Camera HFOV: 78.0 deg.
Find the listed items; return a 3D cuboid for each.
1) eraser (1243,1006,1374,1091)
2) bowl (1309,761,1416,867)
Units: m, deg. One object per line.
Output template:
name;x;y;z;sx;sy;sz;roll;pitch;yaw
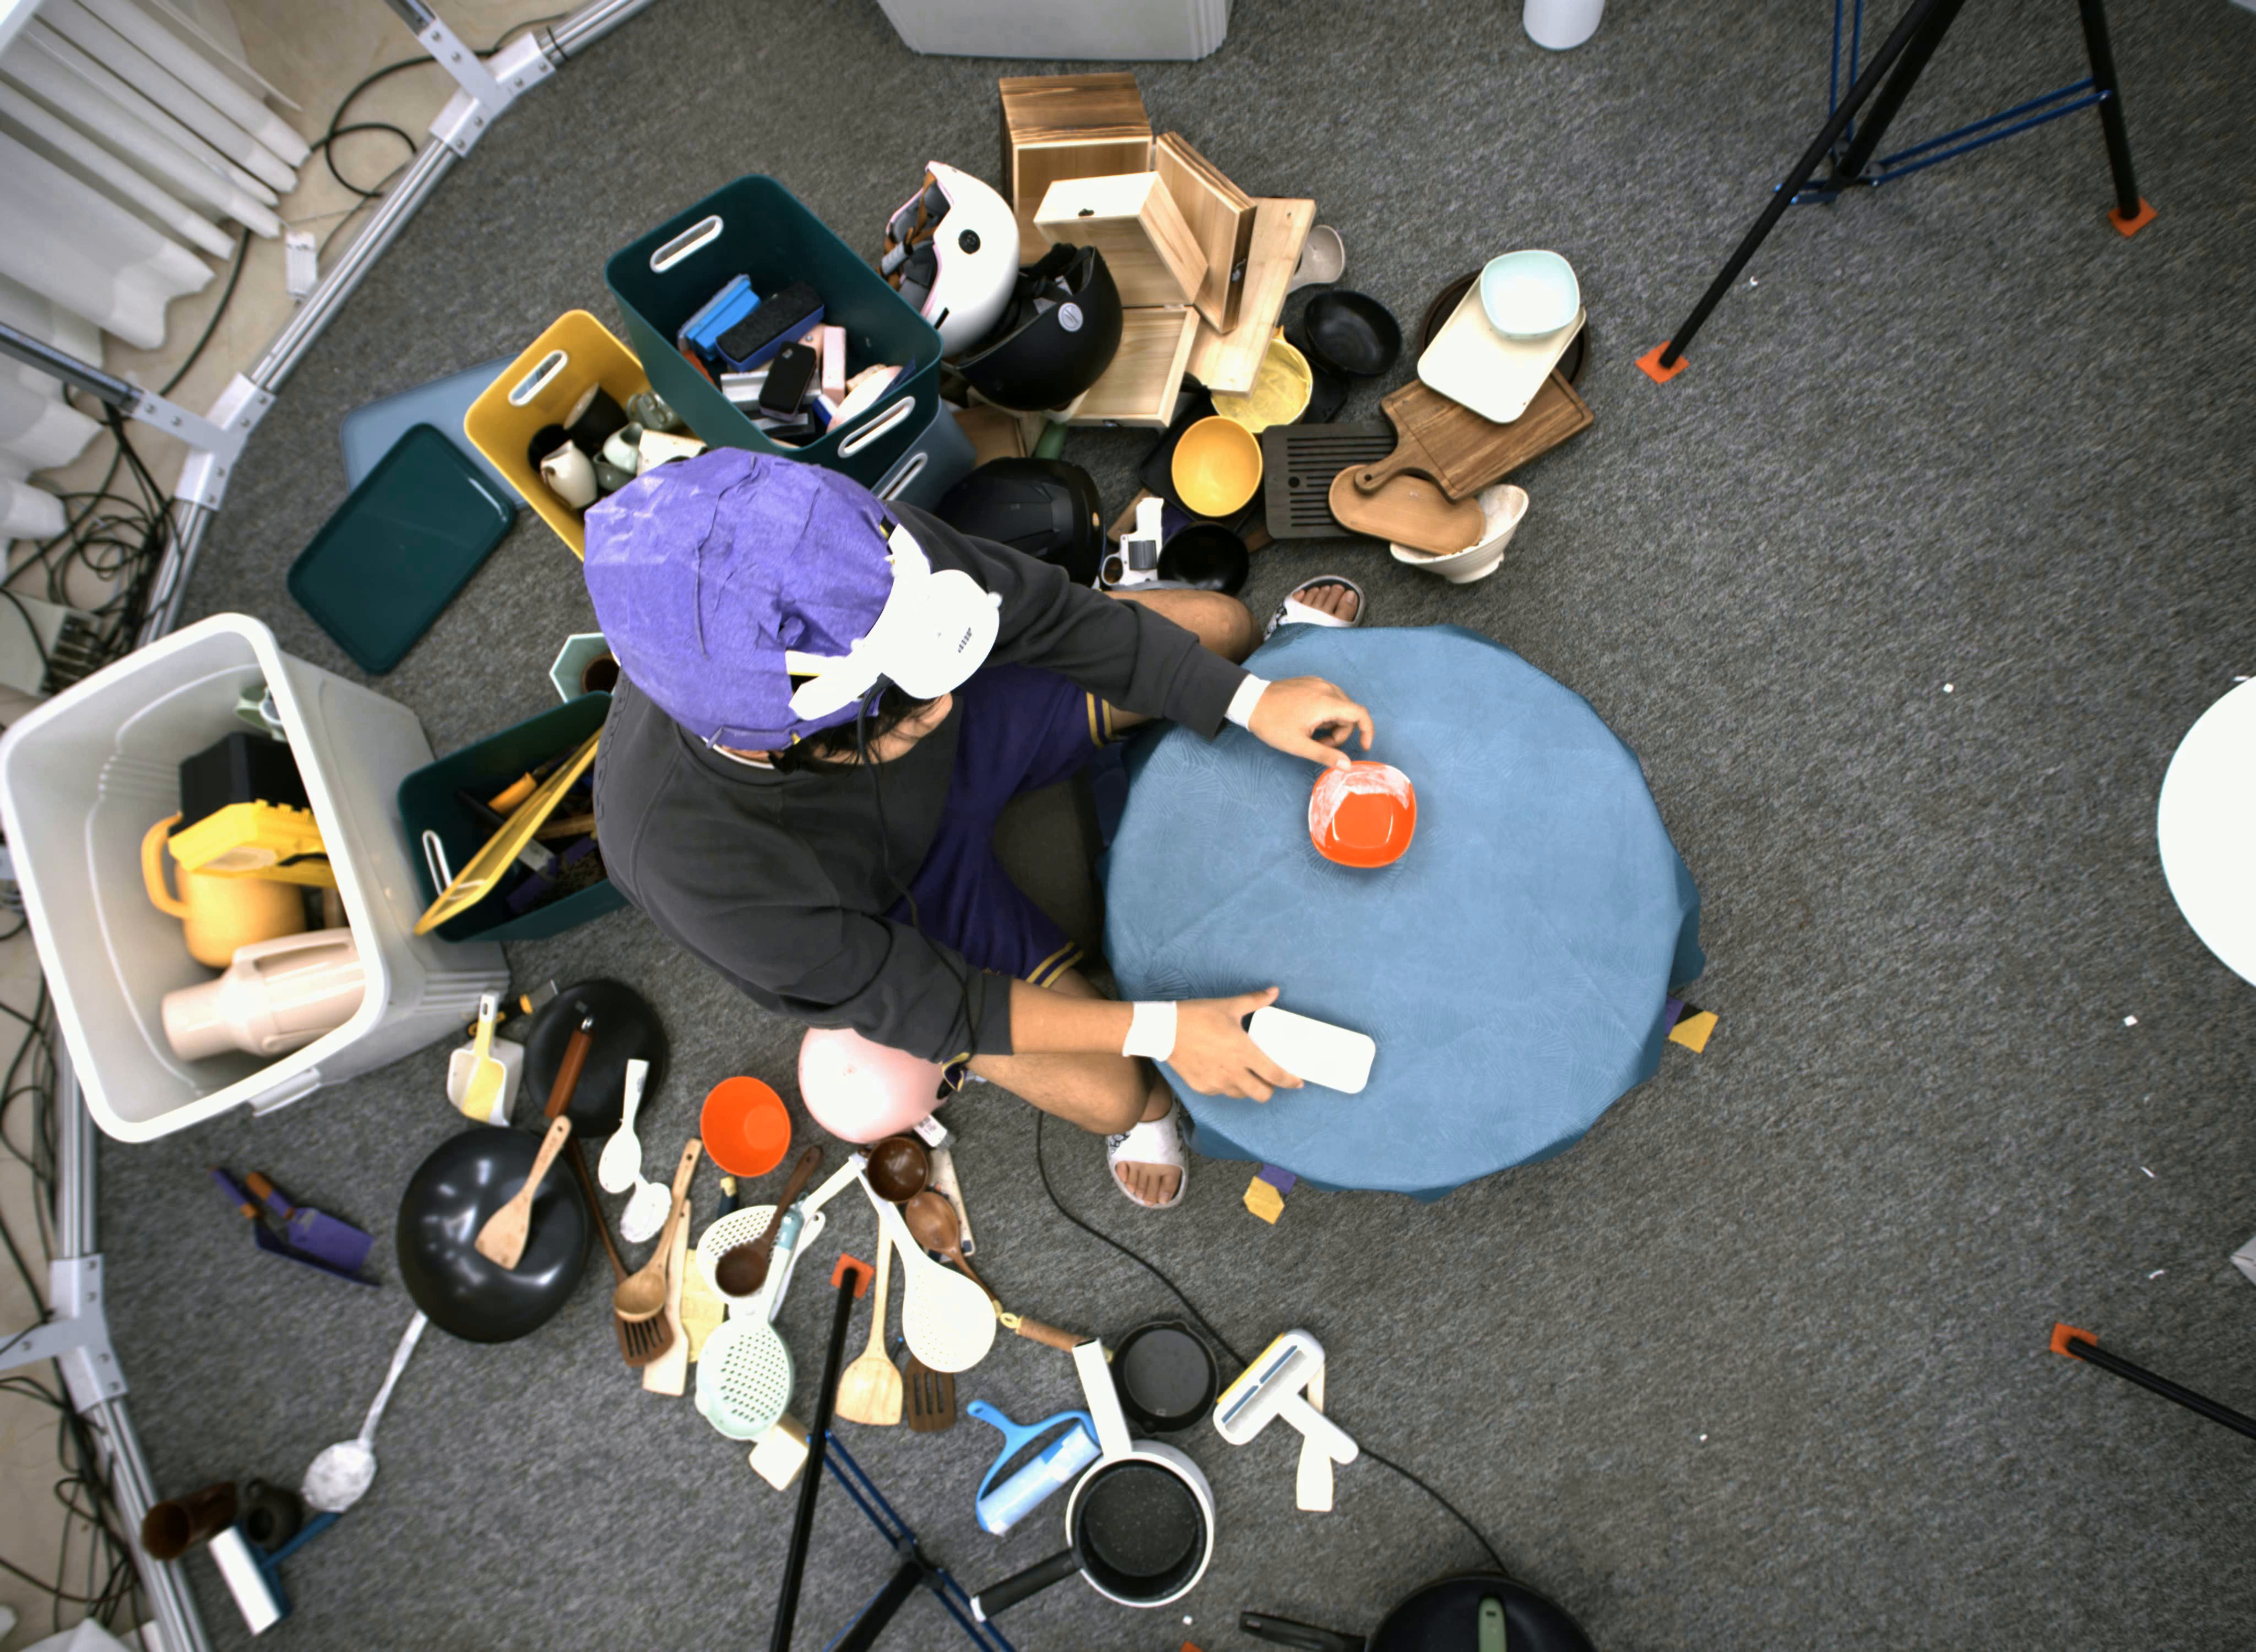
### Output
eraser;0.189;0.230;1.449;0.131;0.034;0.063;17;88;9
bowl;0.245;-0.012;1.443;0.119;0.051;0.118;-1;87;11
